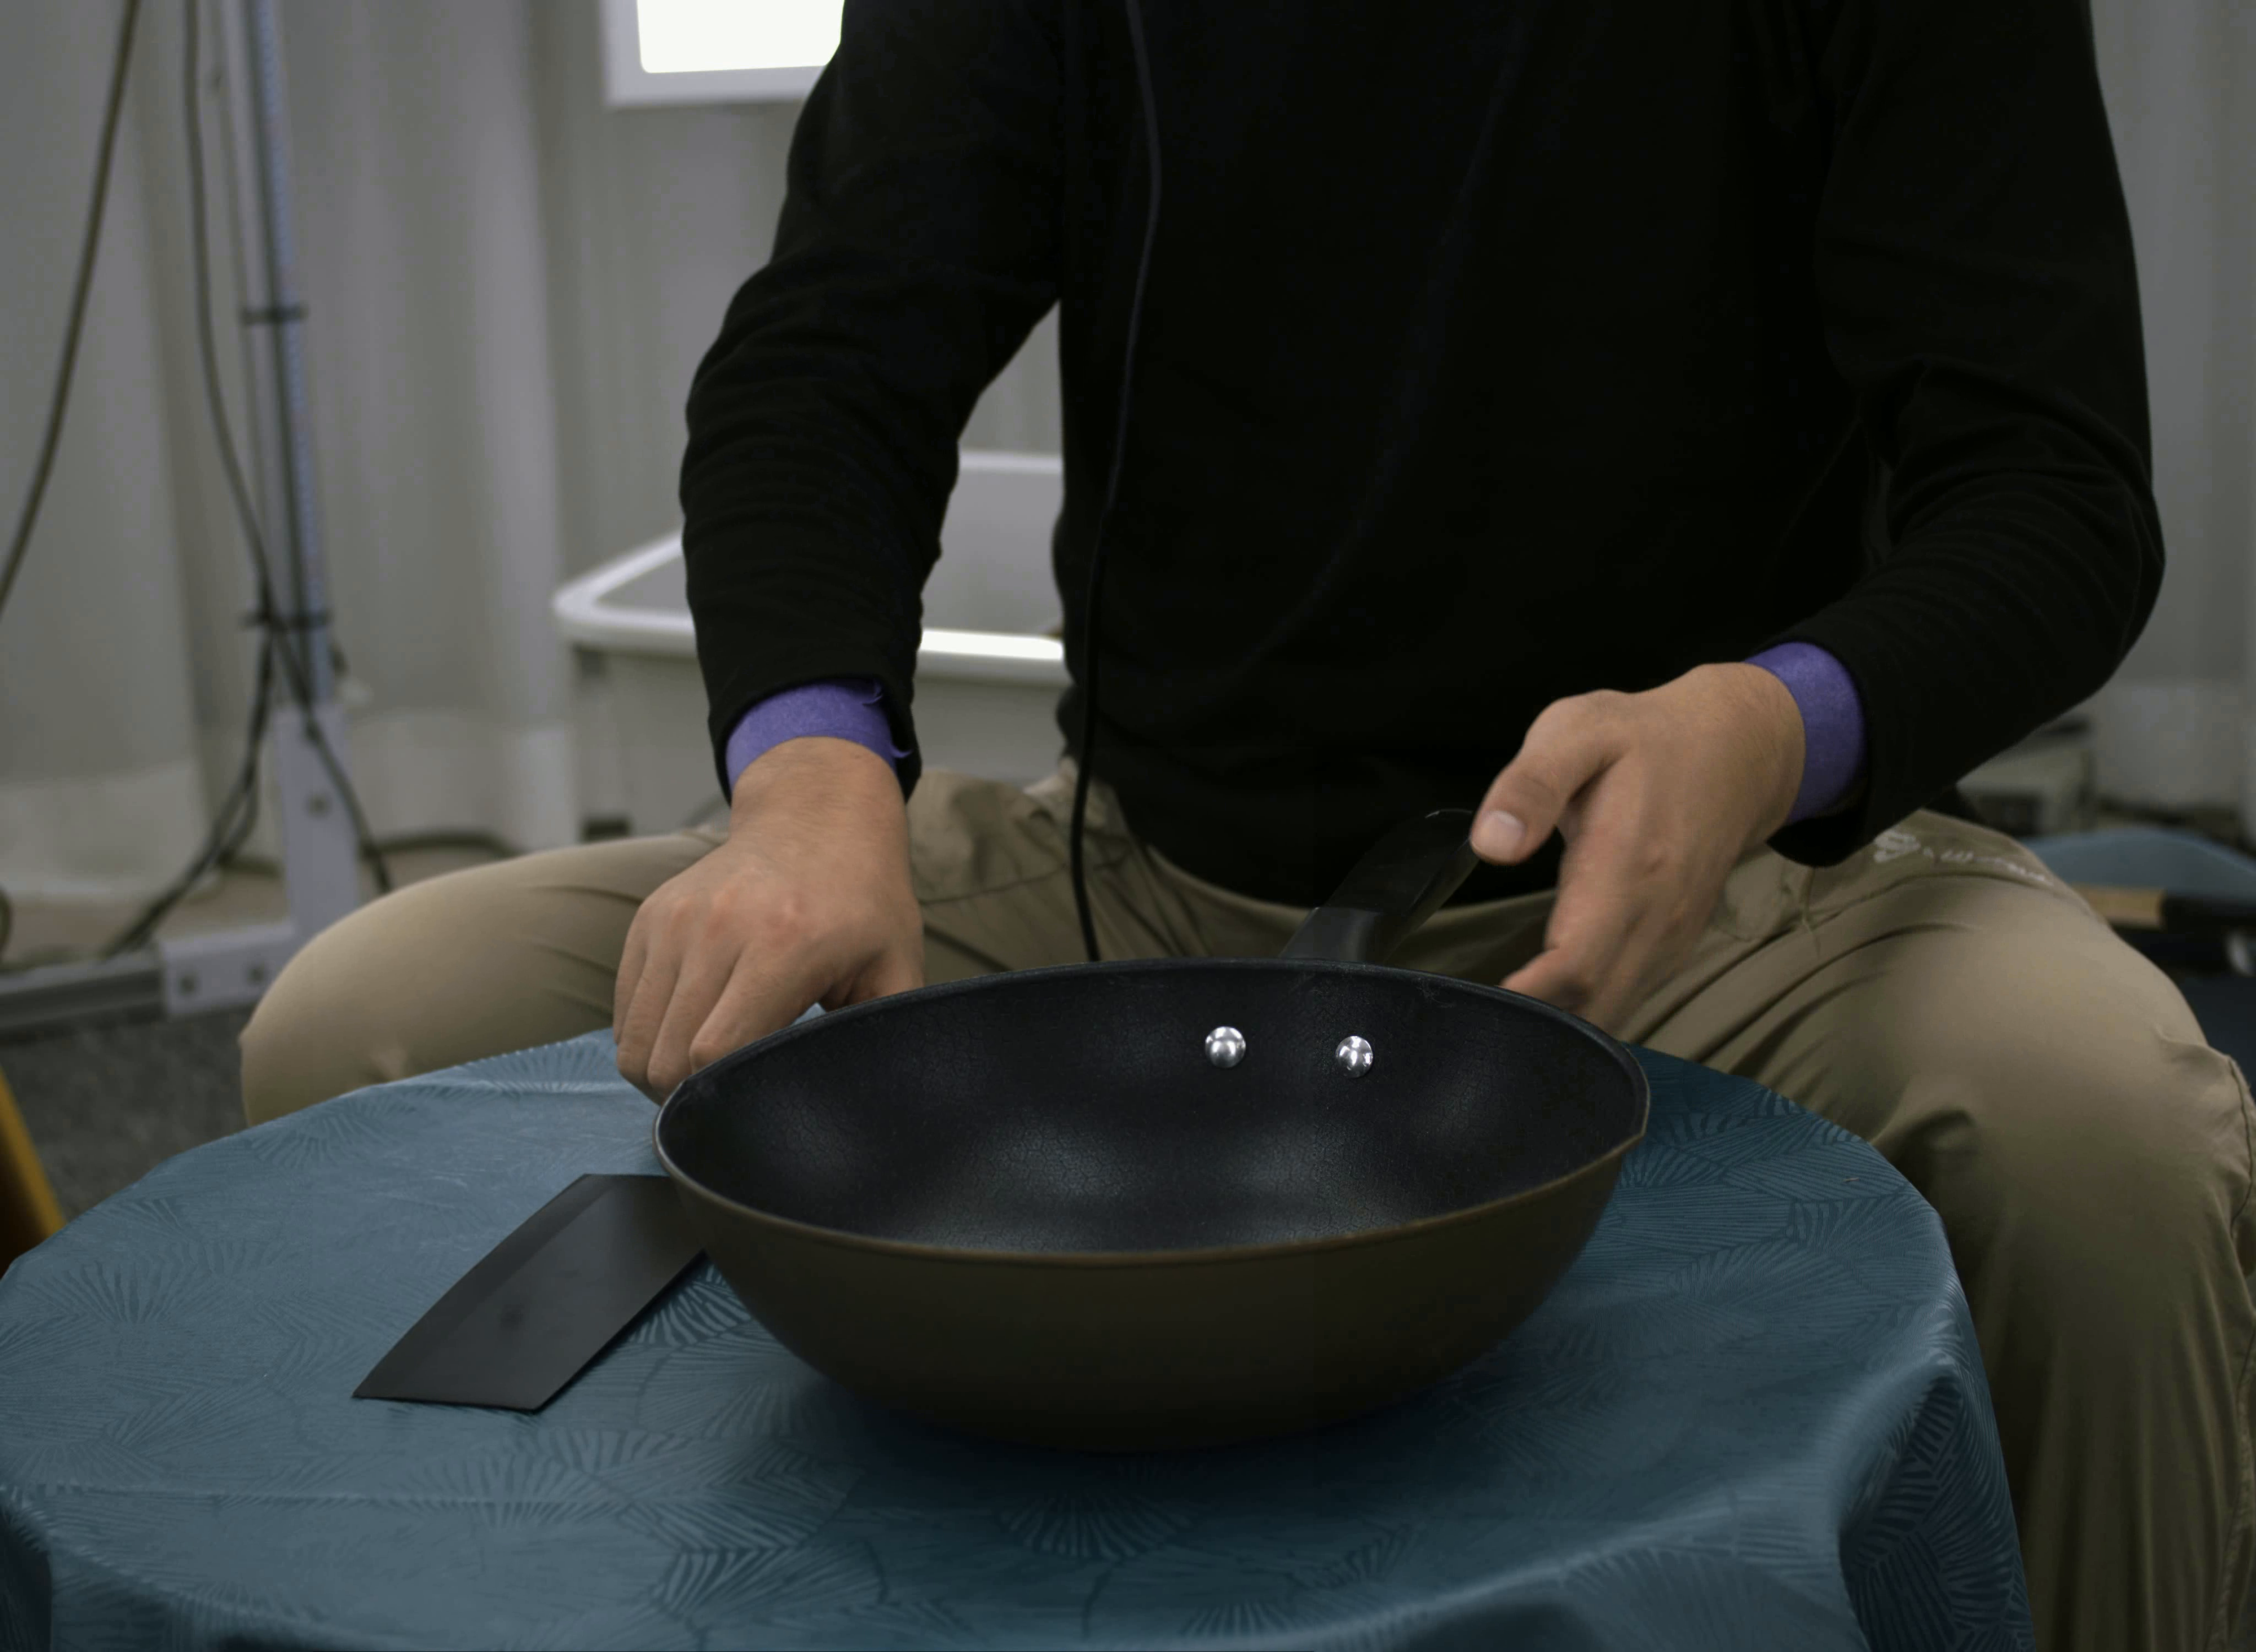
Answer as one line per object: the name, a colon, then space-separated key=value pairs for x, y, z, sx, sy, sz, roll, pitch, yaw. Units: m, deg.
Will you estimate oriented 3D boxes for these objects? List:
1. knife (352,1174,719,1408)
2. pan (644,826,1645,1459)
knife: x=-0.147 y=0.121 z=1.693 sx=0.081 sy=0.021 sz=0.303 roll=4 pitch=18 yaw=22
pan: x=0.037 y=0.092 z=1.636 sx=0.288 sy=0.086 sz=0.464 roll=3 pitch=15 yaw=20
